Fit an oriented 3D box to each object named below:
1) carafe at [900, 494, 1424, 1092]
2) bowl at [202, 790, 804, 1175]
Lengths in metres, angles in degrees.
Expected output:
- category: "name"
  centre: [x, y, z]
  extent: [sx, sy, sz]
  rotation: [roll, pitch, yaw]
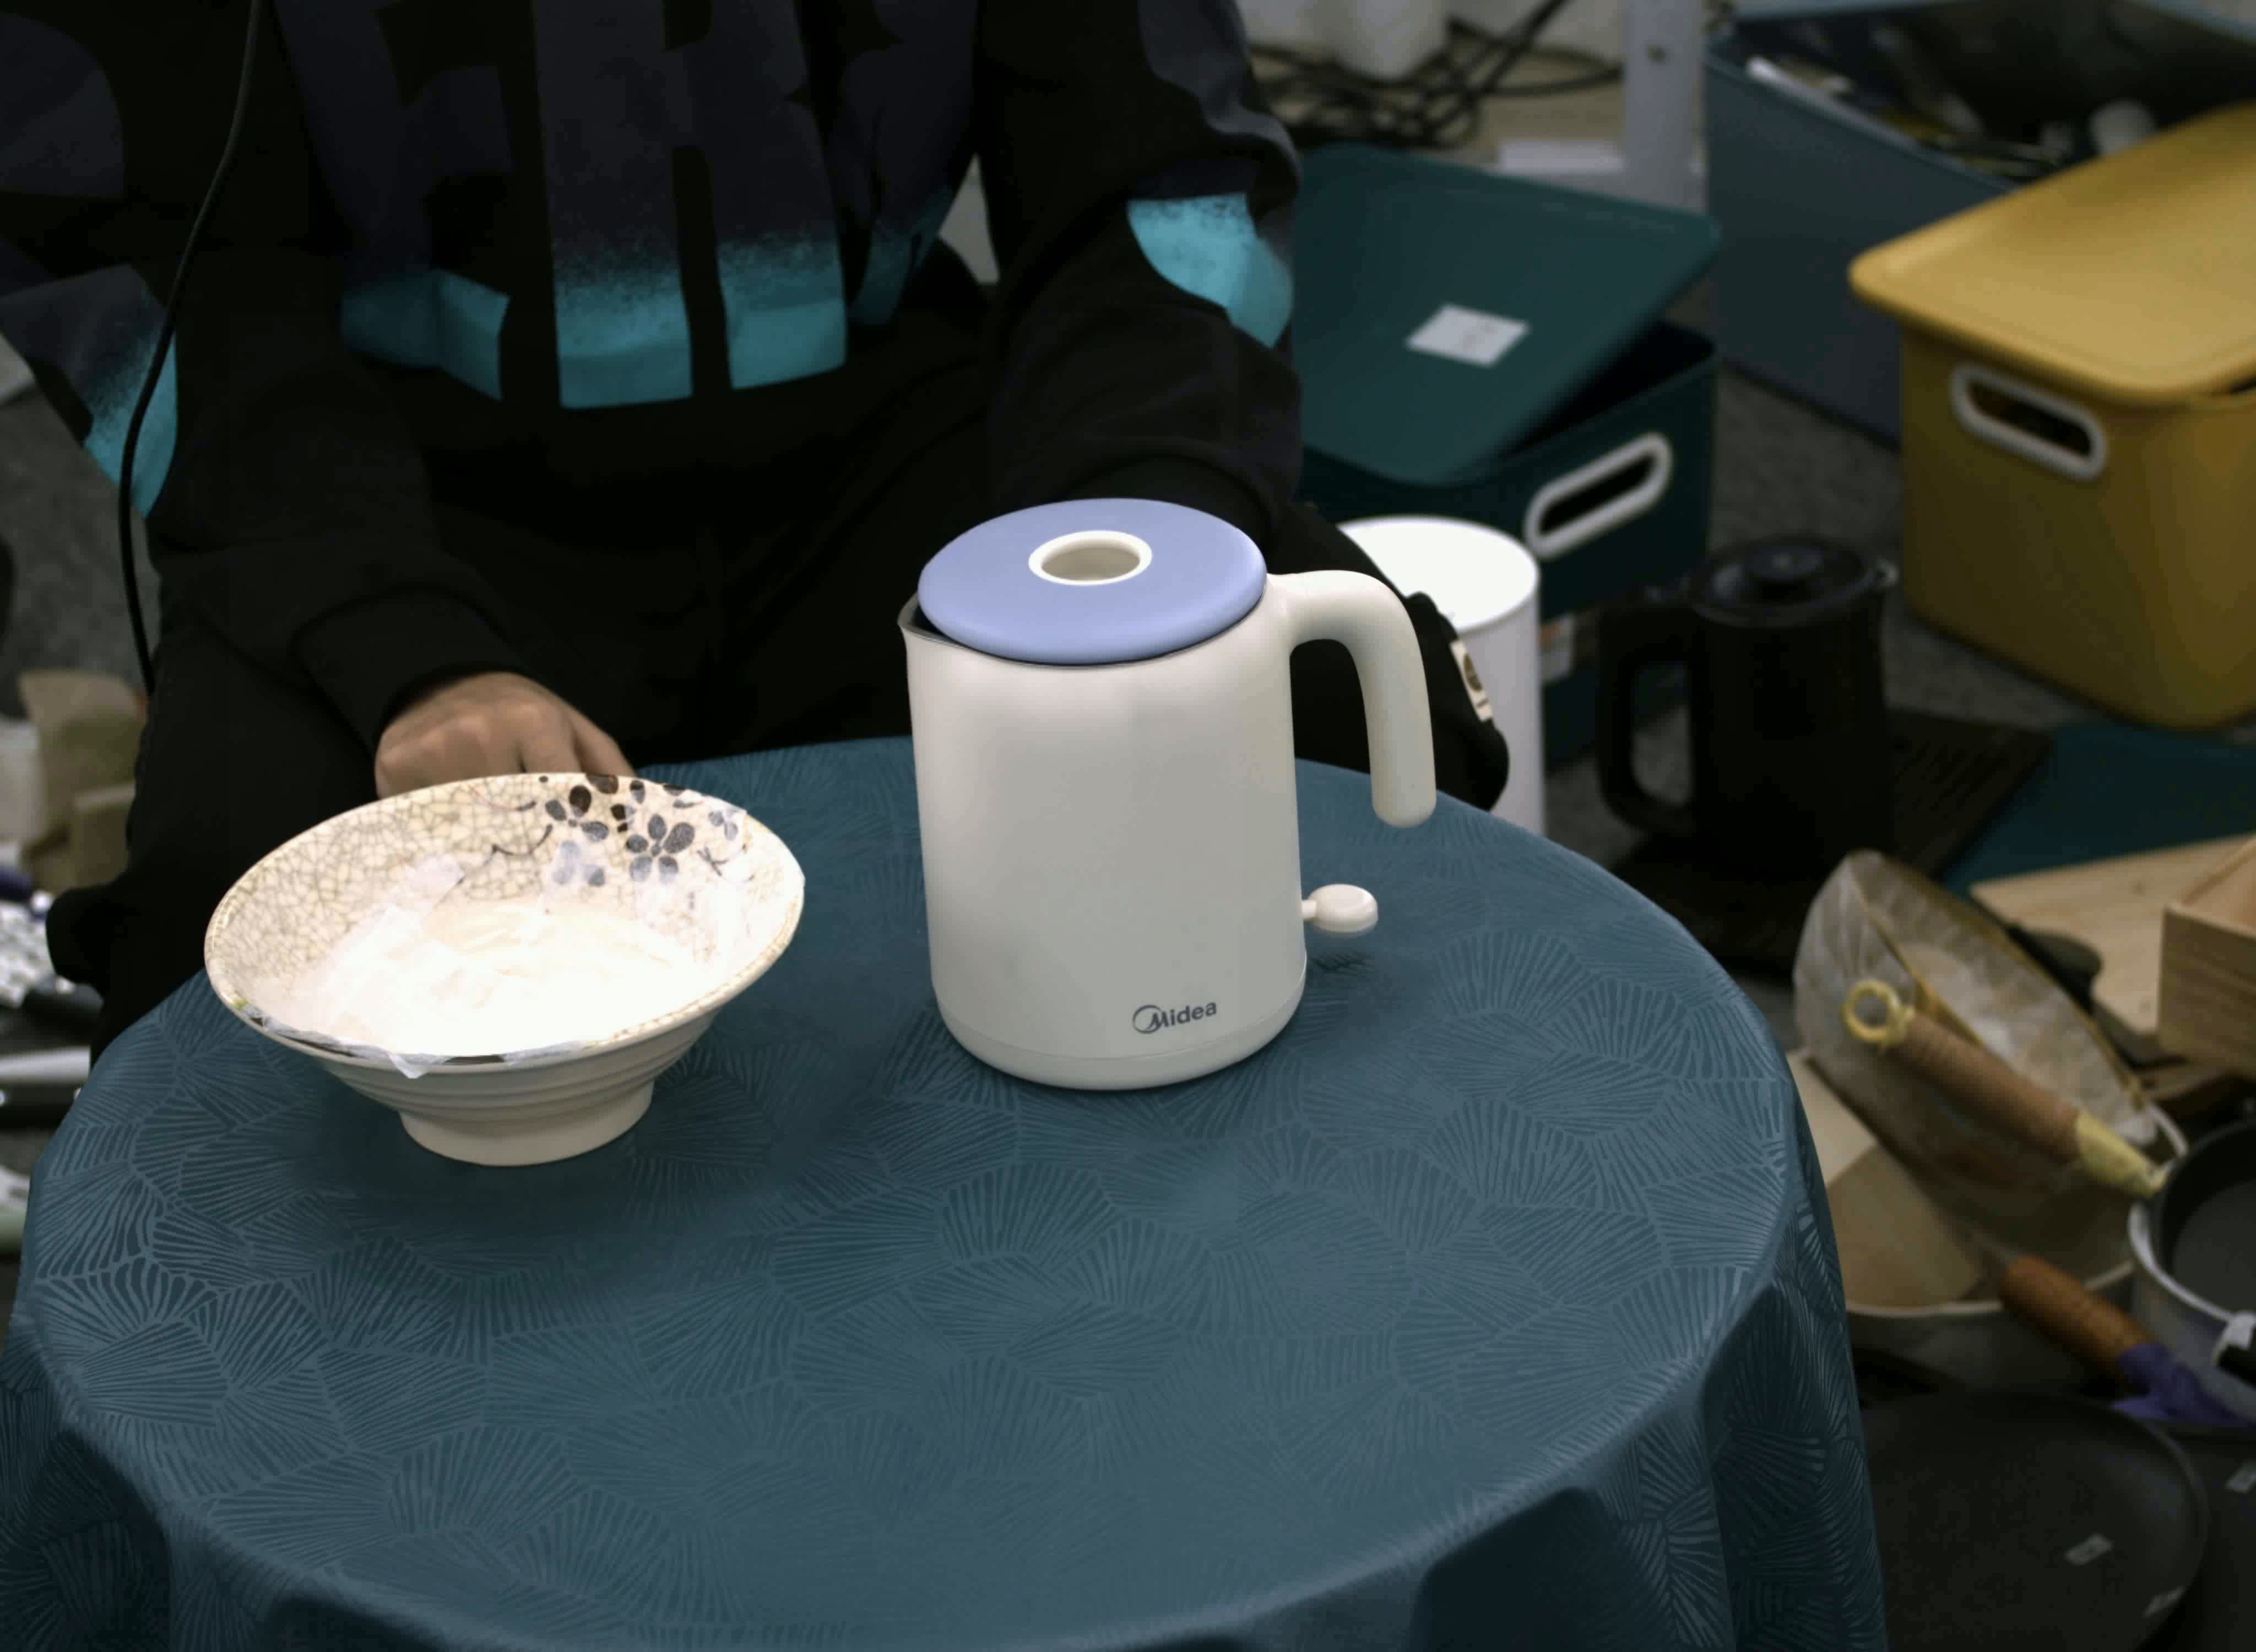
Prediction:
- category: "carafe"
  centre: [0.015, -0.016, 1.942]
  extent: [0.191, 0.180, 0.133]
  rotation: [-10, 28, -18]
- category: "bowl"
  centre: [-0.209, 0.065, 1.911]
  extent: [0.203, 0.077, 0.207]
  rotation: [-3, 25, 2]
